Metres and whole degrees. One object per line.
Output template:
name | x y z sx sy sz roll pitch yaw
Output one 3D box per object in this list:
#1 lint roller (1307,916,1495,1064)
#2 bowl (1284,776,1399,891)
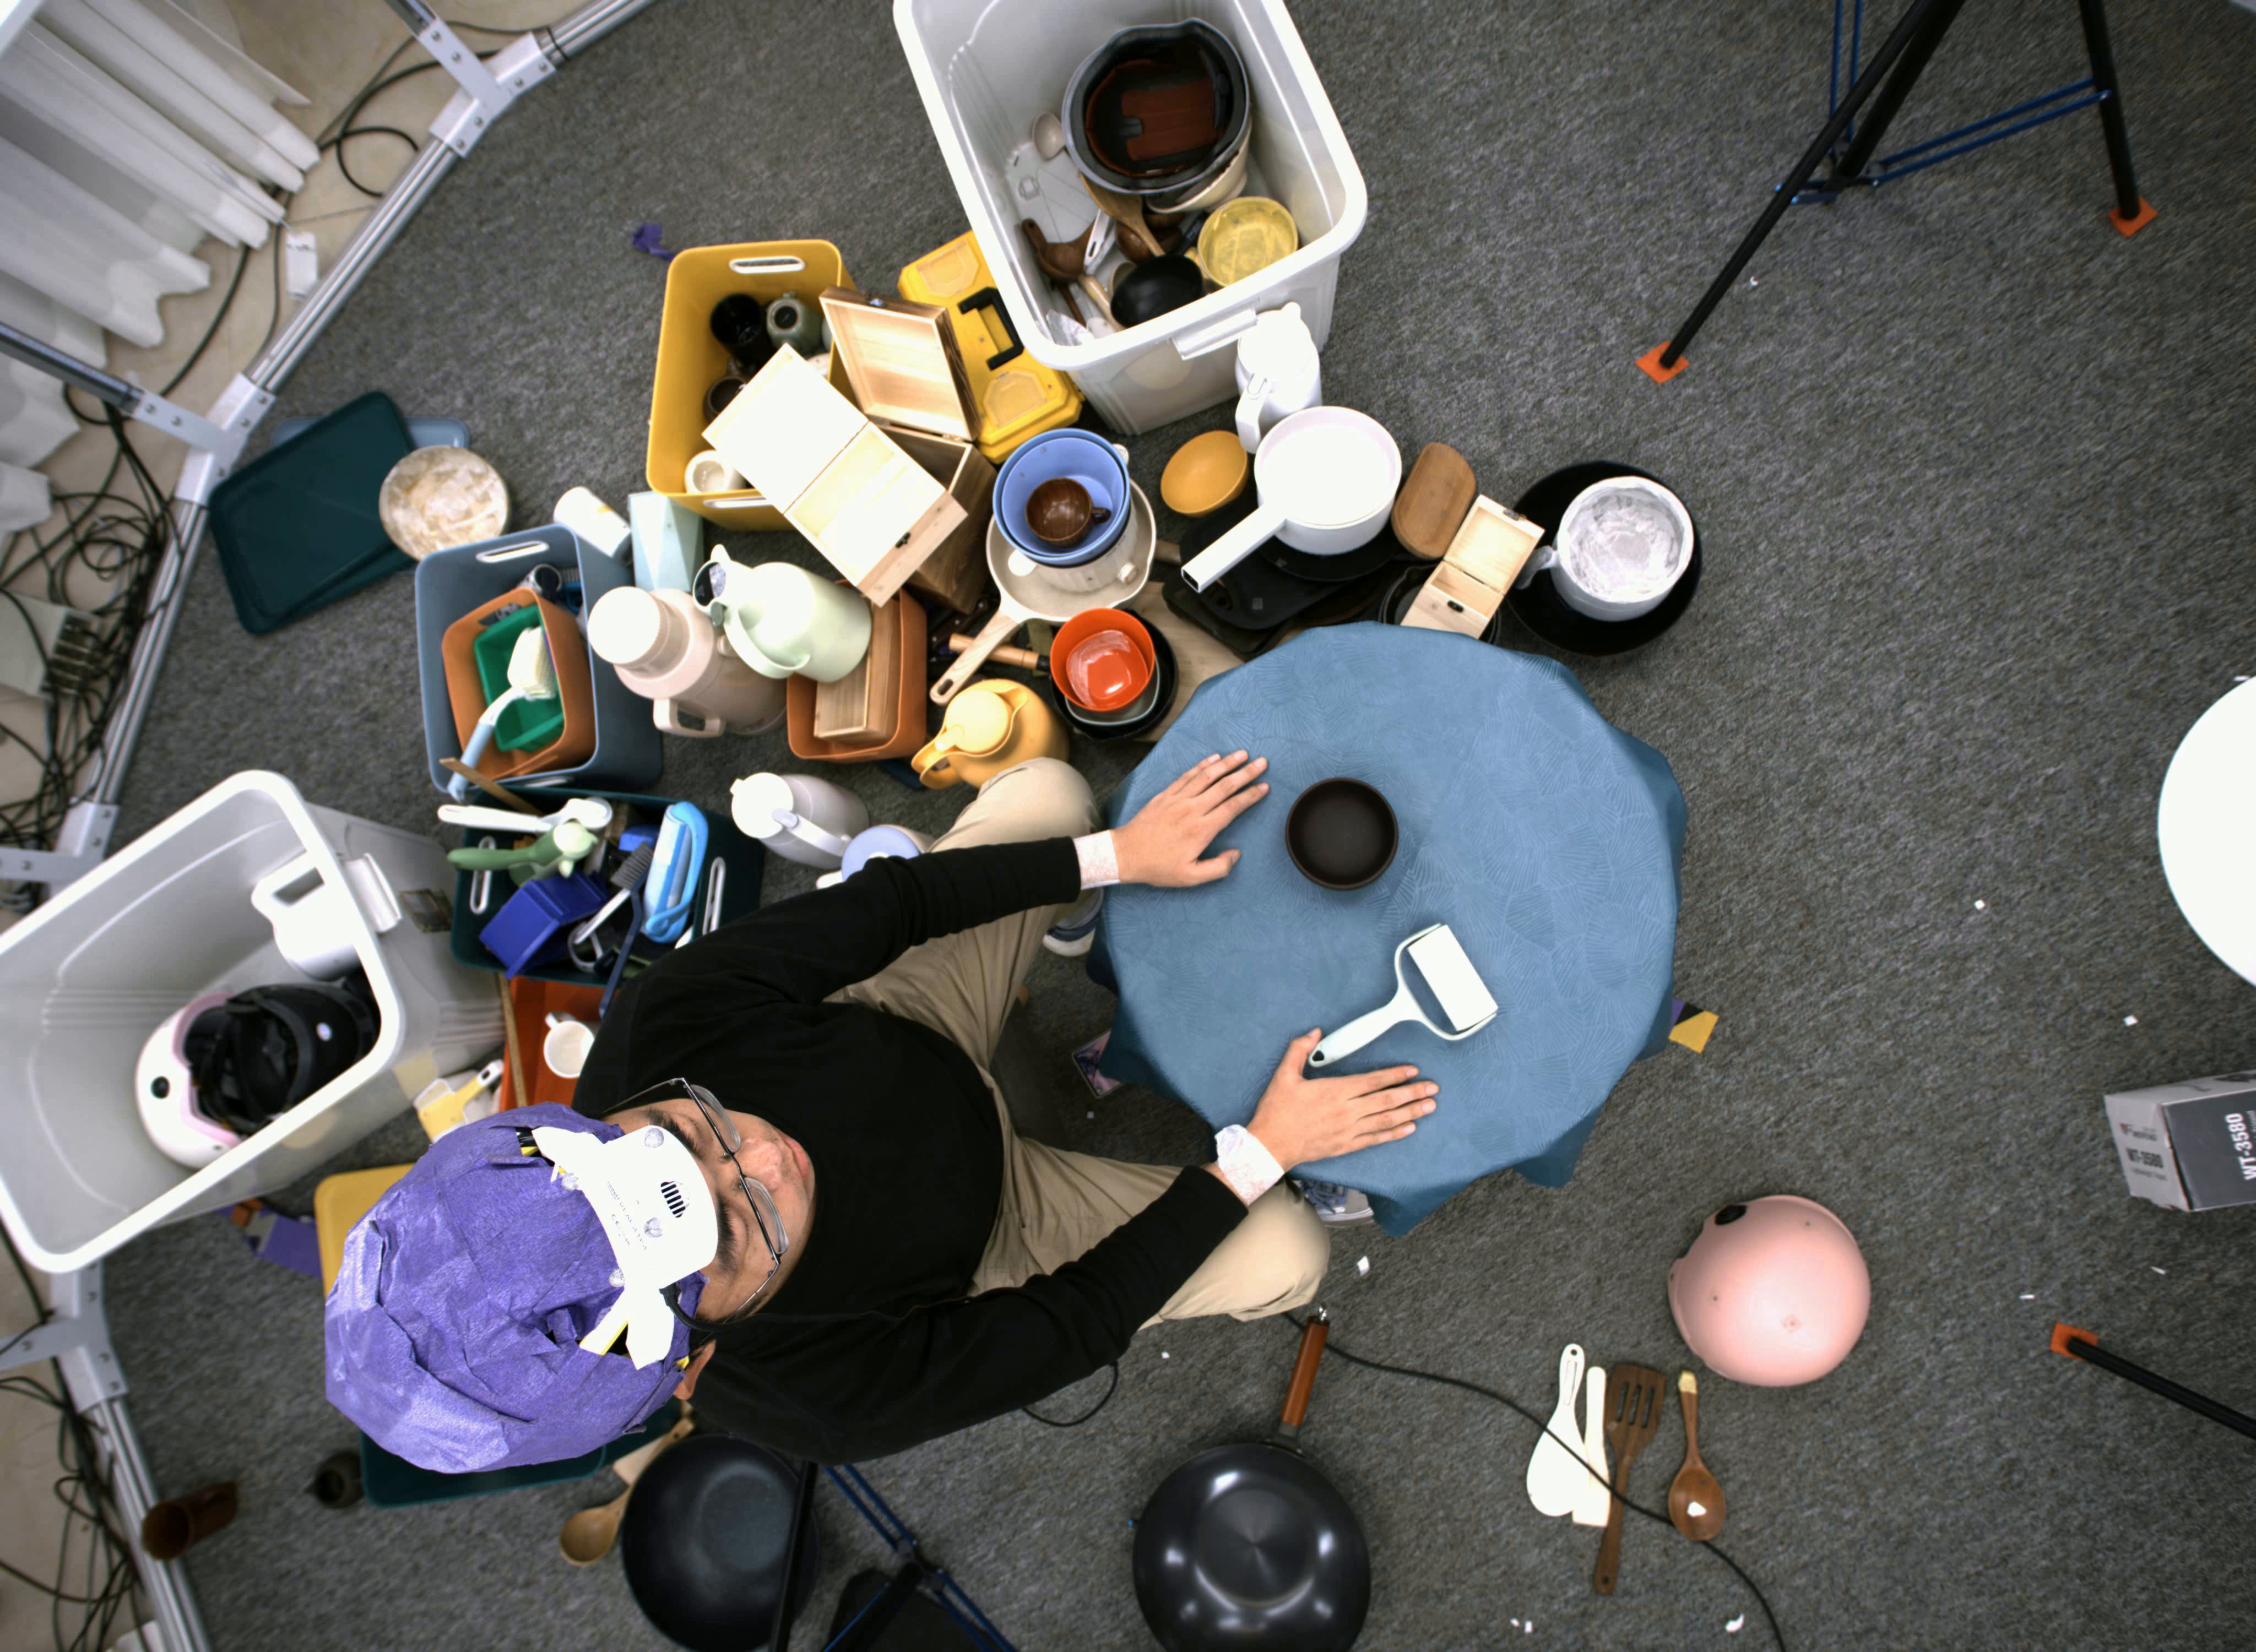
lint roller | 0.268 0.186 1.432 0.199 0.048 0.116 -32 82 8
bowl | 0.222 0.009 1.436 0.118 0.070 0.117 -1 87 11
